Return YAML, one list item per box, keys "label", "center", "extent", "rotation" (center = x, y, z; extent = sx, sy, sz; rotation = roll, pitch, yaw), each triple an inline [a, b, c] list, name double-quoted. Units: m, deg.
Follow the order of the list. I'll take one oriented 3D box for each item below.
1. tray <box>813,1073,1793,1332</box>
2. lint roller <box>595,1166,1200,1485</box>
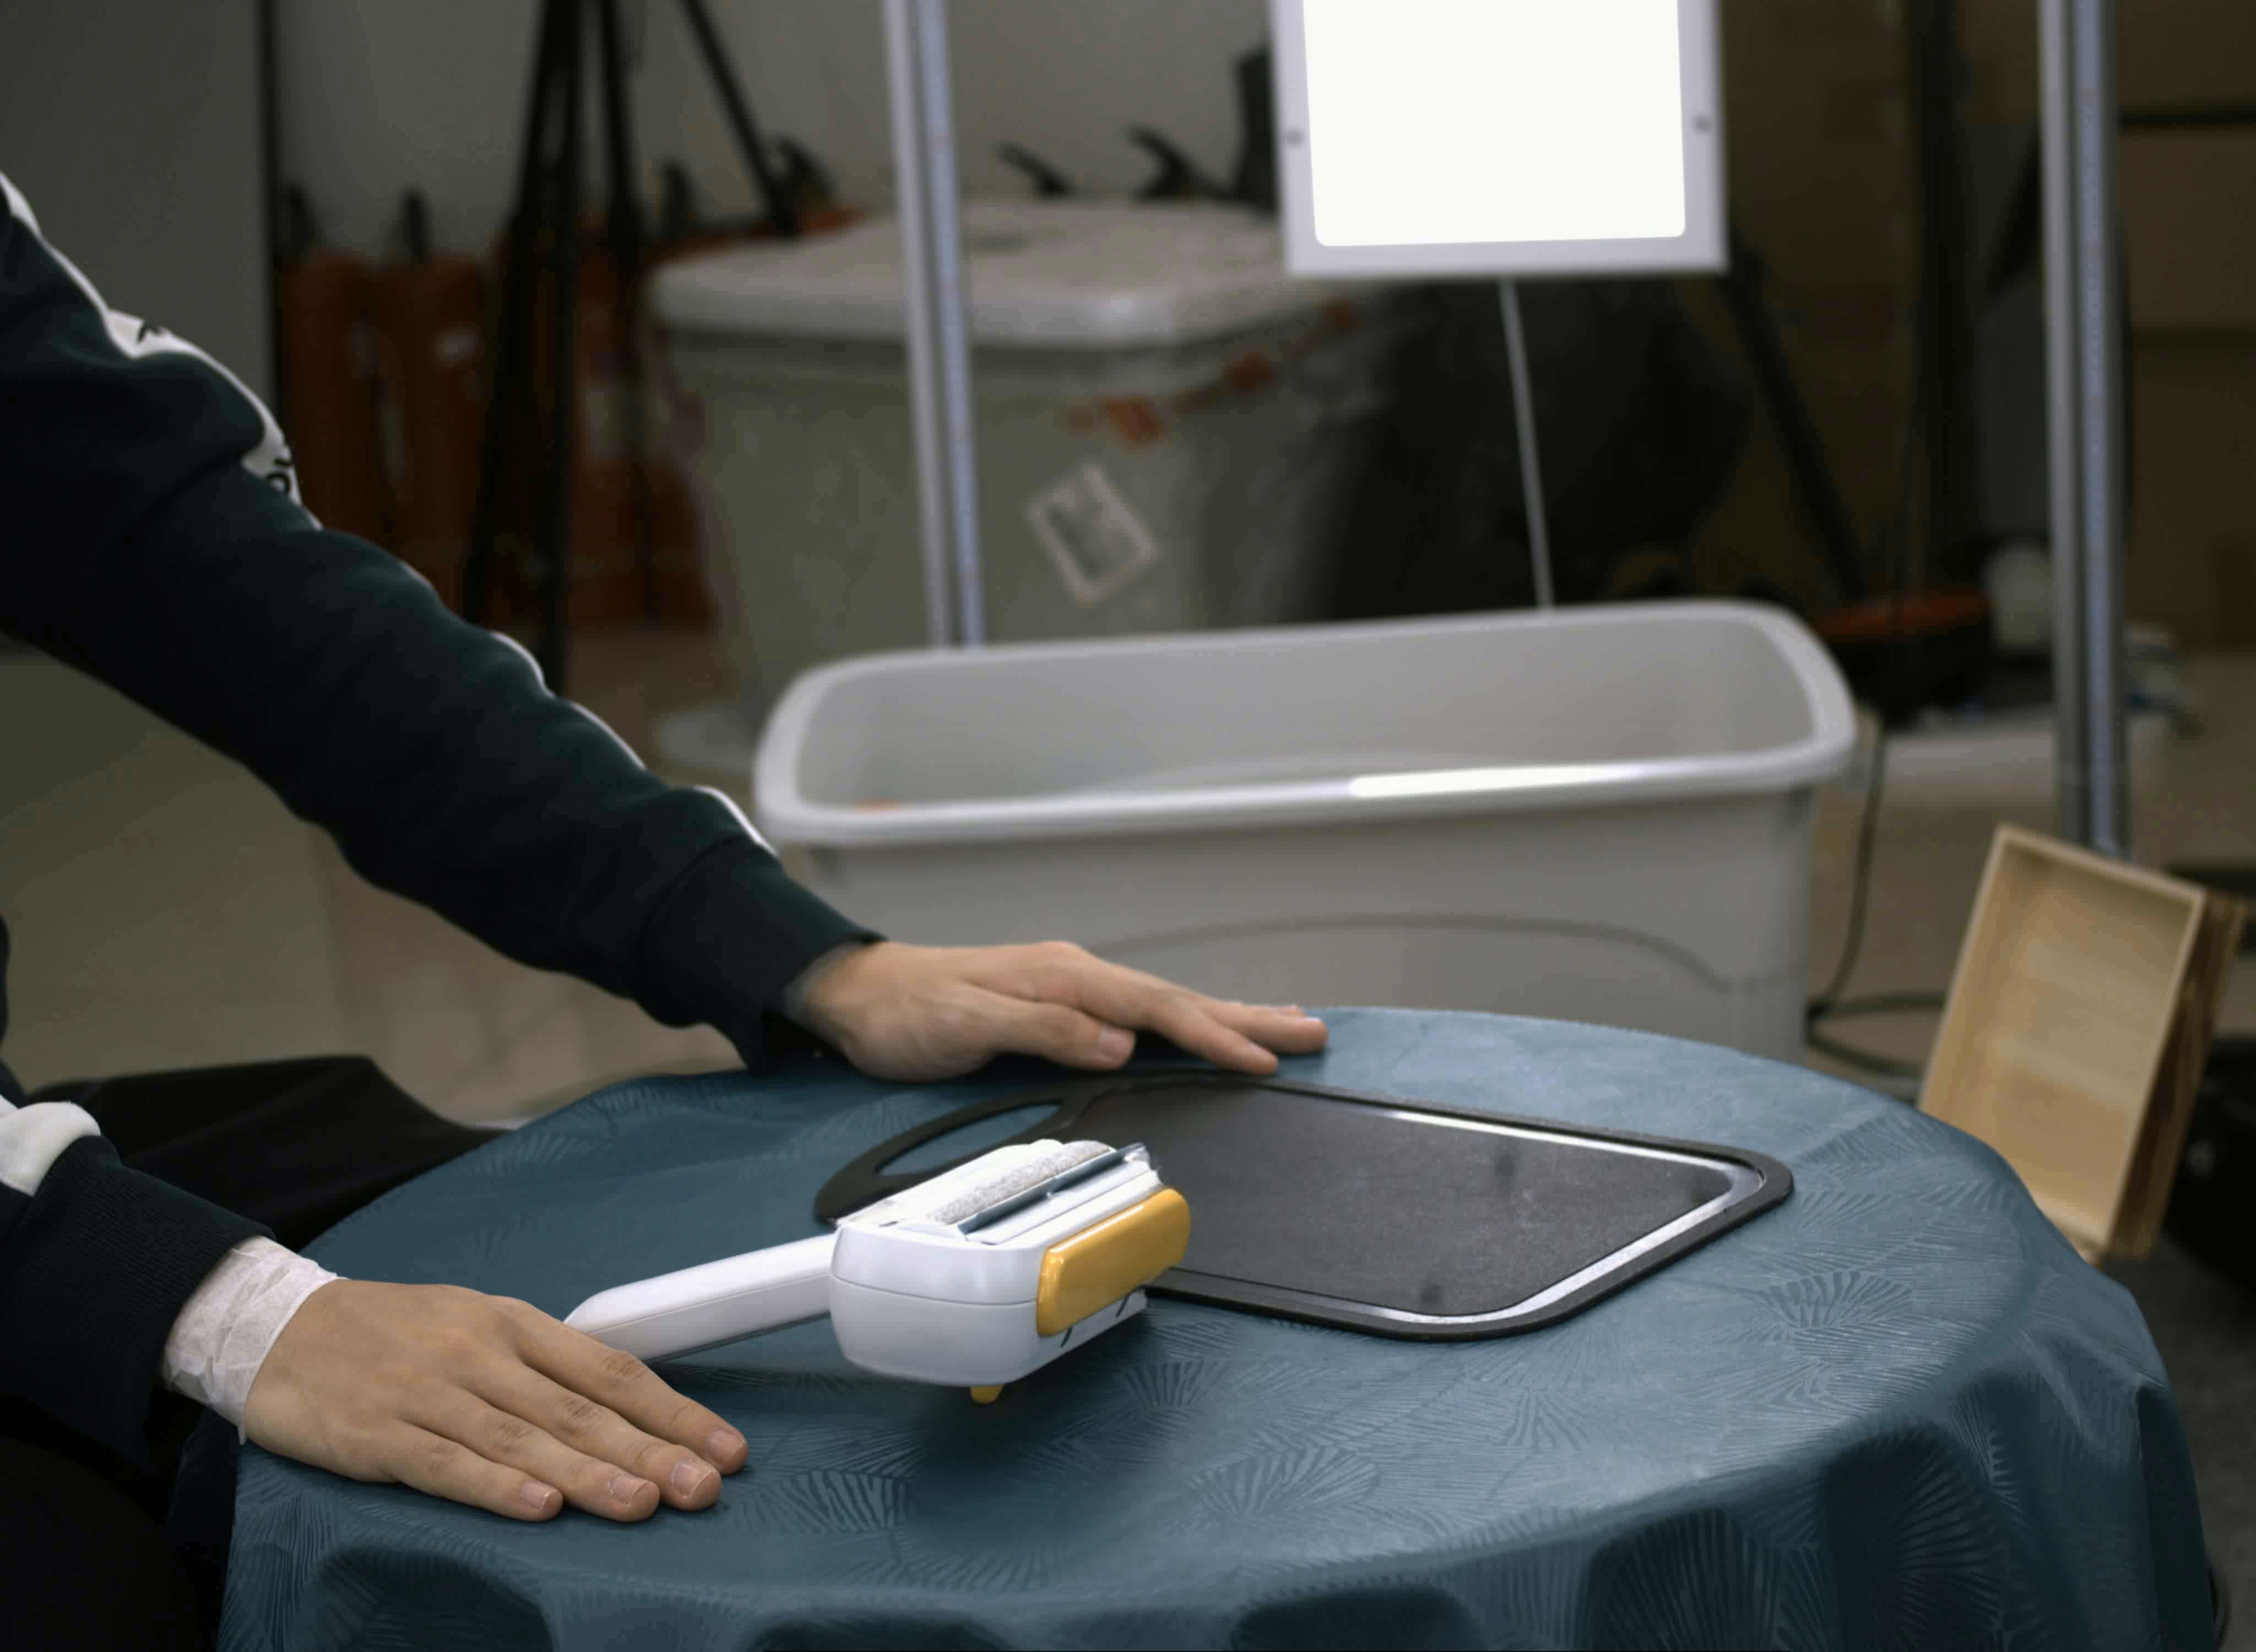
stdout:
- label: "tray"
  center: [0.050, 0.124, 1.876]
  extent: [0.332, 0.010, 0.206]
  rotation: [6, 18, 40]
- label: "lint roller"
  center: [-0.087, 0.161, 1.725]
  extent: [0.196, 0.074, 0.189]
  rotation: [-15, 2, 25]
